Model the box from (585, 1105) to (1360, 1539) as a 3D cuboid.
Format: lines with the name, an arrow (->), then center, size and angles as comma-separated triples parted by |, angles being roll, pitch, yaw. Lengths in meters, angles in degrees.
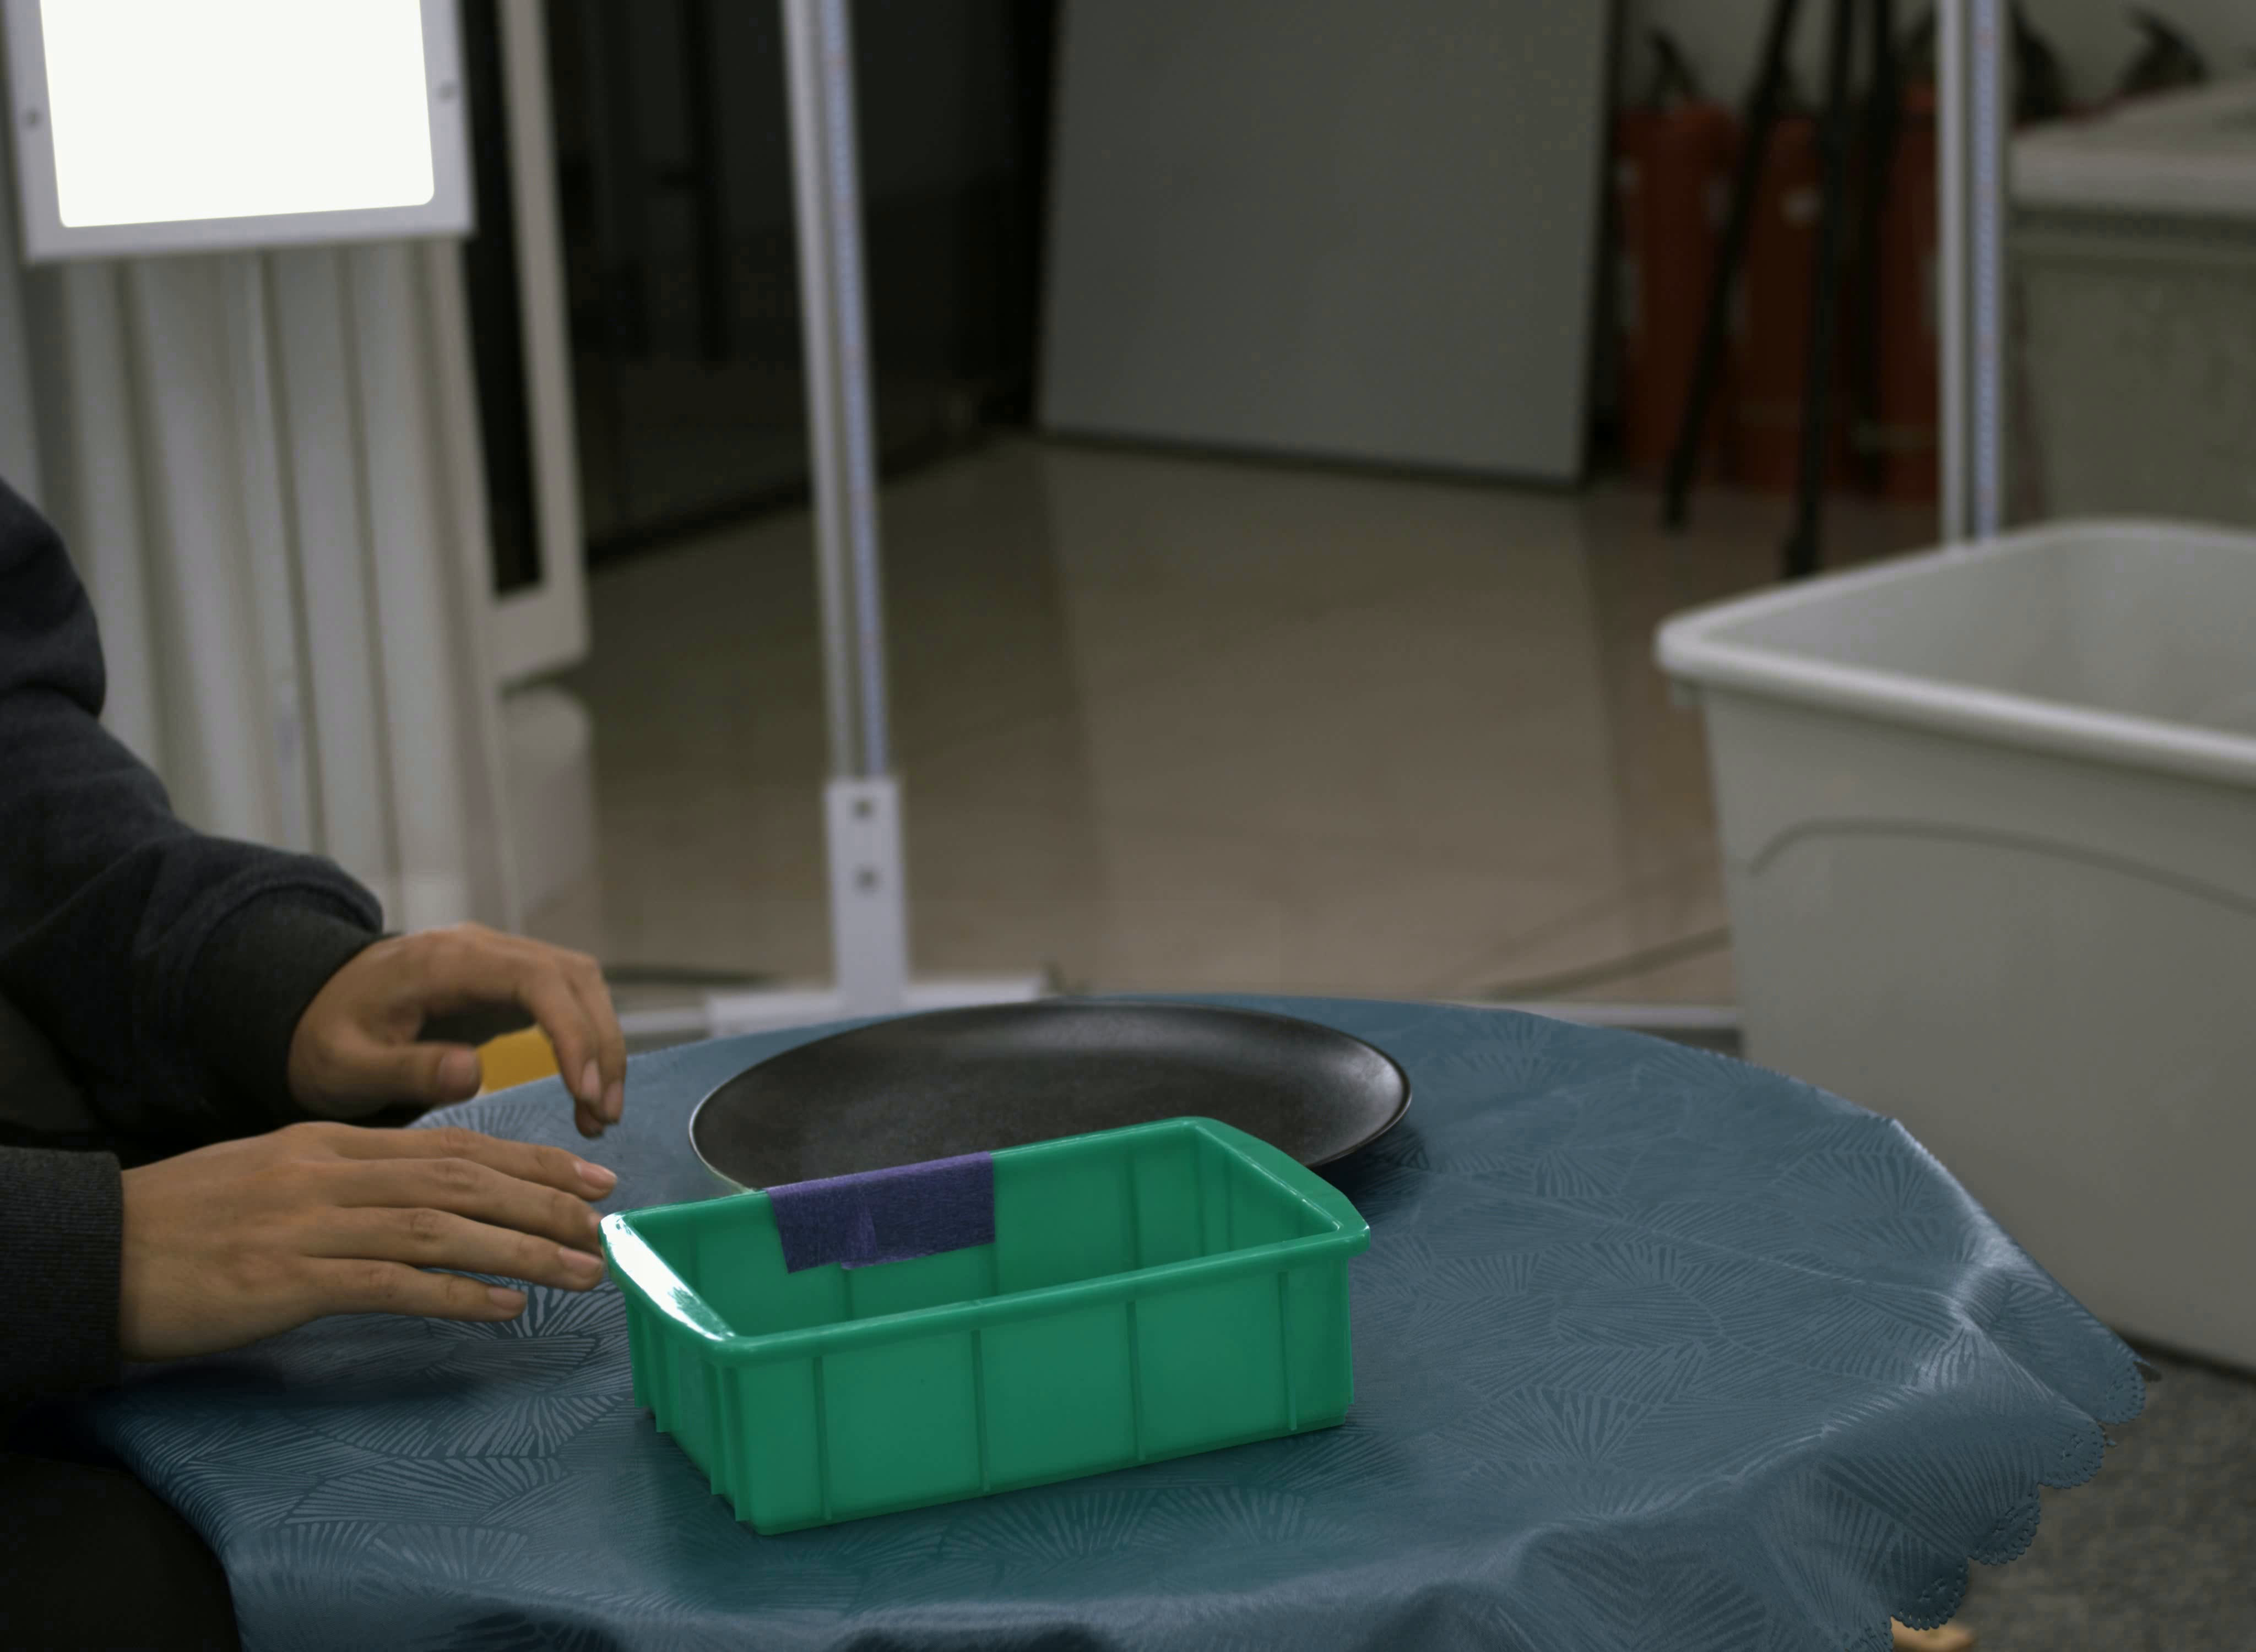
box -> -0.044, 0.142, 1.560 | 0.206, 0.066, 0.140 | -11, 13, -19

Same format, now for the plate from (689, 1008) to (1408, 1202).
plate -> -0.026, 0.104, 1.801 | 0.241, 0.024, 0.245 | -4, 14, 0
